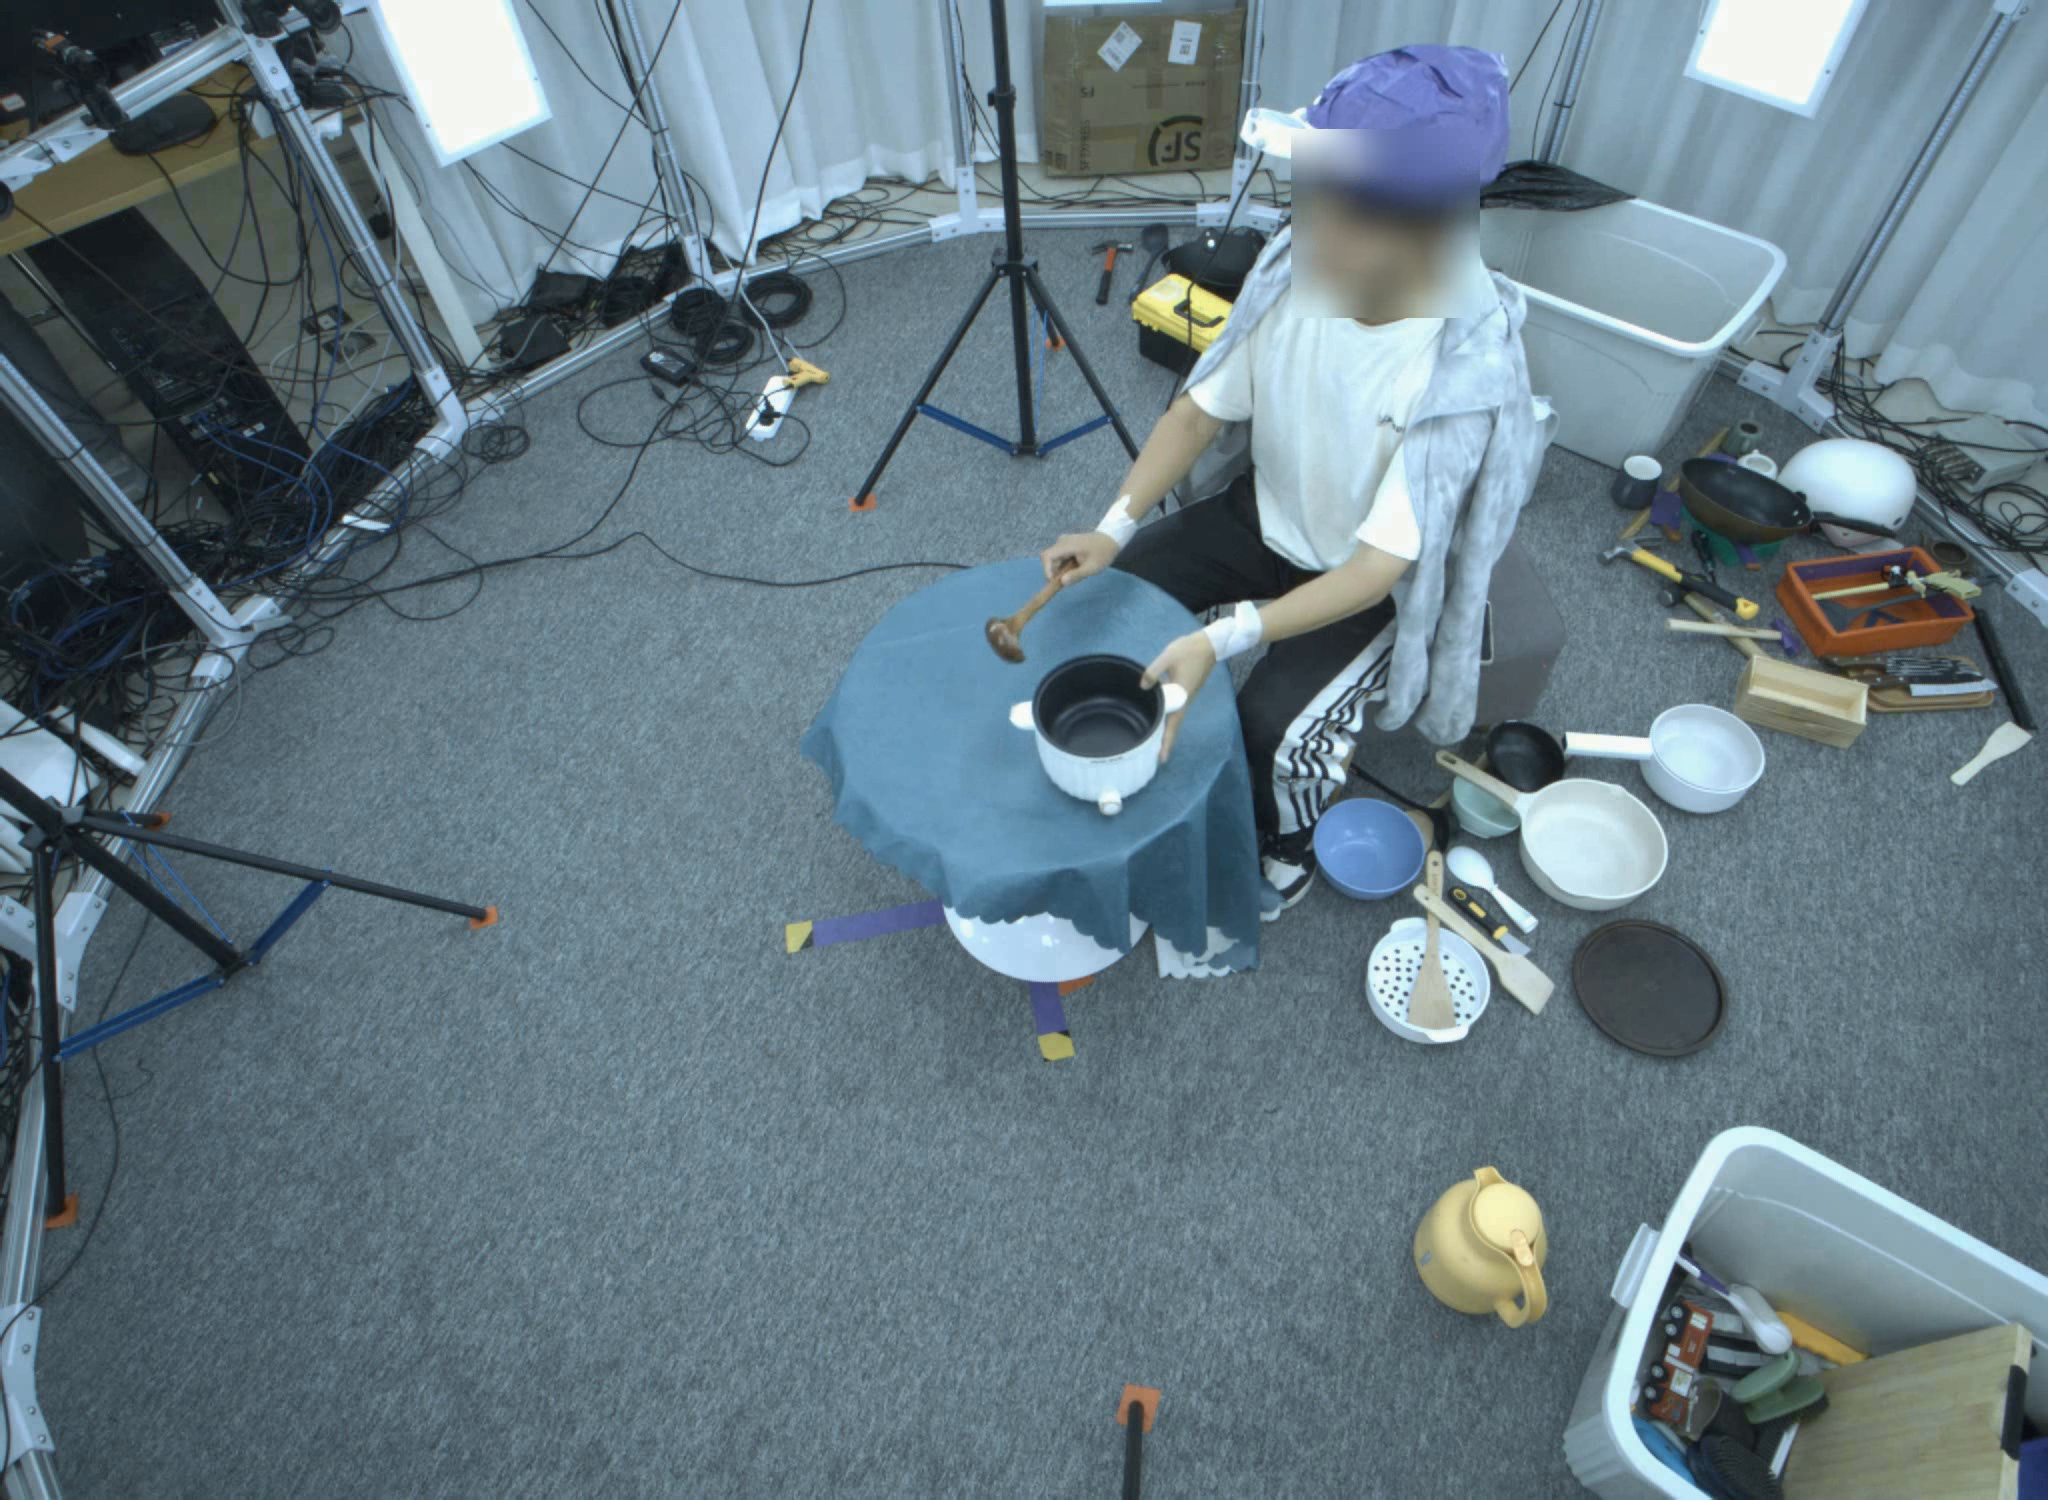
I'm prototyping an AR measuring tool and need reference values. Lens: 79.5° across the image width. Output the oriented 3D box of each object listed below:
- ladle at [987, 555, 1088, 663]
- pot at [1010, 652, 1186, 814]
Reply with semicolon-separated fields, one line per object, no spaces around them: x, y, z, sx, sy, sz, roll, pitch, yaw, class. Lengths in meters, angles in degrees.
0.034;-0.220;1.789;0.075;0.083;0.276;-7;31;47;ladle
0.108;-0.020;1.711;0.240;0.144;0.188;-8;51;1;pot
